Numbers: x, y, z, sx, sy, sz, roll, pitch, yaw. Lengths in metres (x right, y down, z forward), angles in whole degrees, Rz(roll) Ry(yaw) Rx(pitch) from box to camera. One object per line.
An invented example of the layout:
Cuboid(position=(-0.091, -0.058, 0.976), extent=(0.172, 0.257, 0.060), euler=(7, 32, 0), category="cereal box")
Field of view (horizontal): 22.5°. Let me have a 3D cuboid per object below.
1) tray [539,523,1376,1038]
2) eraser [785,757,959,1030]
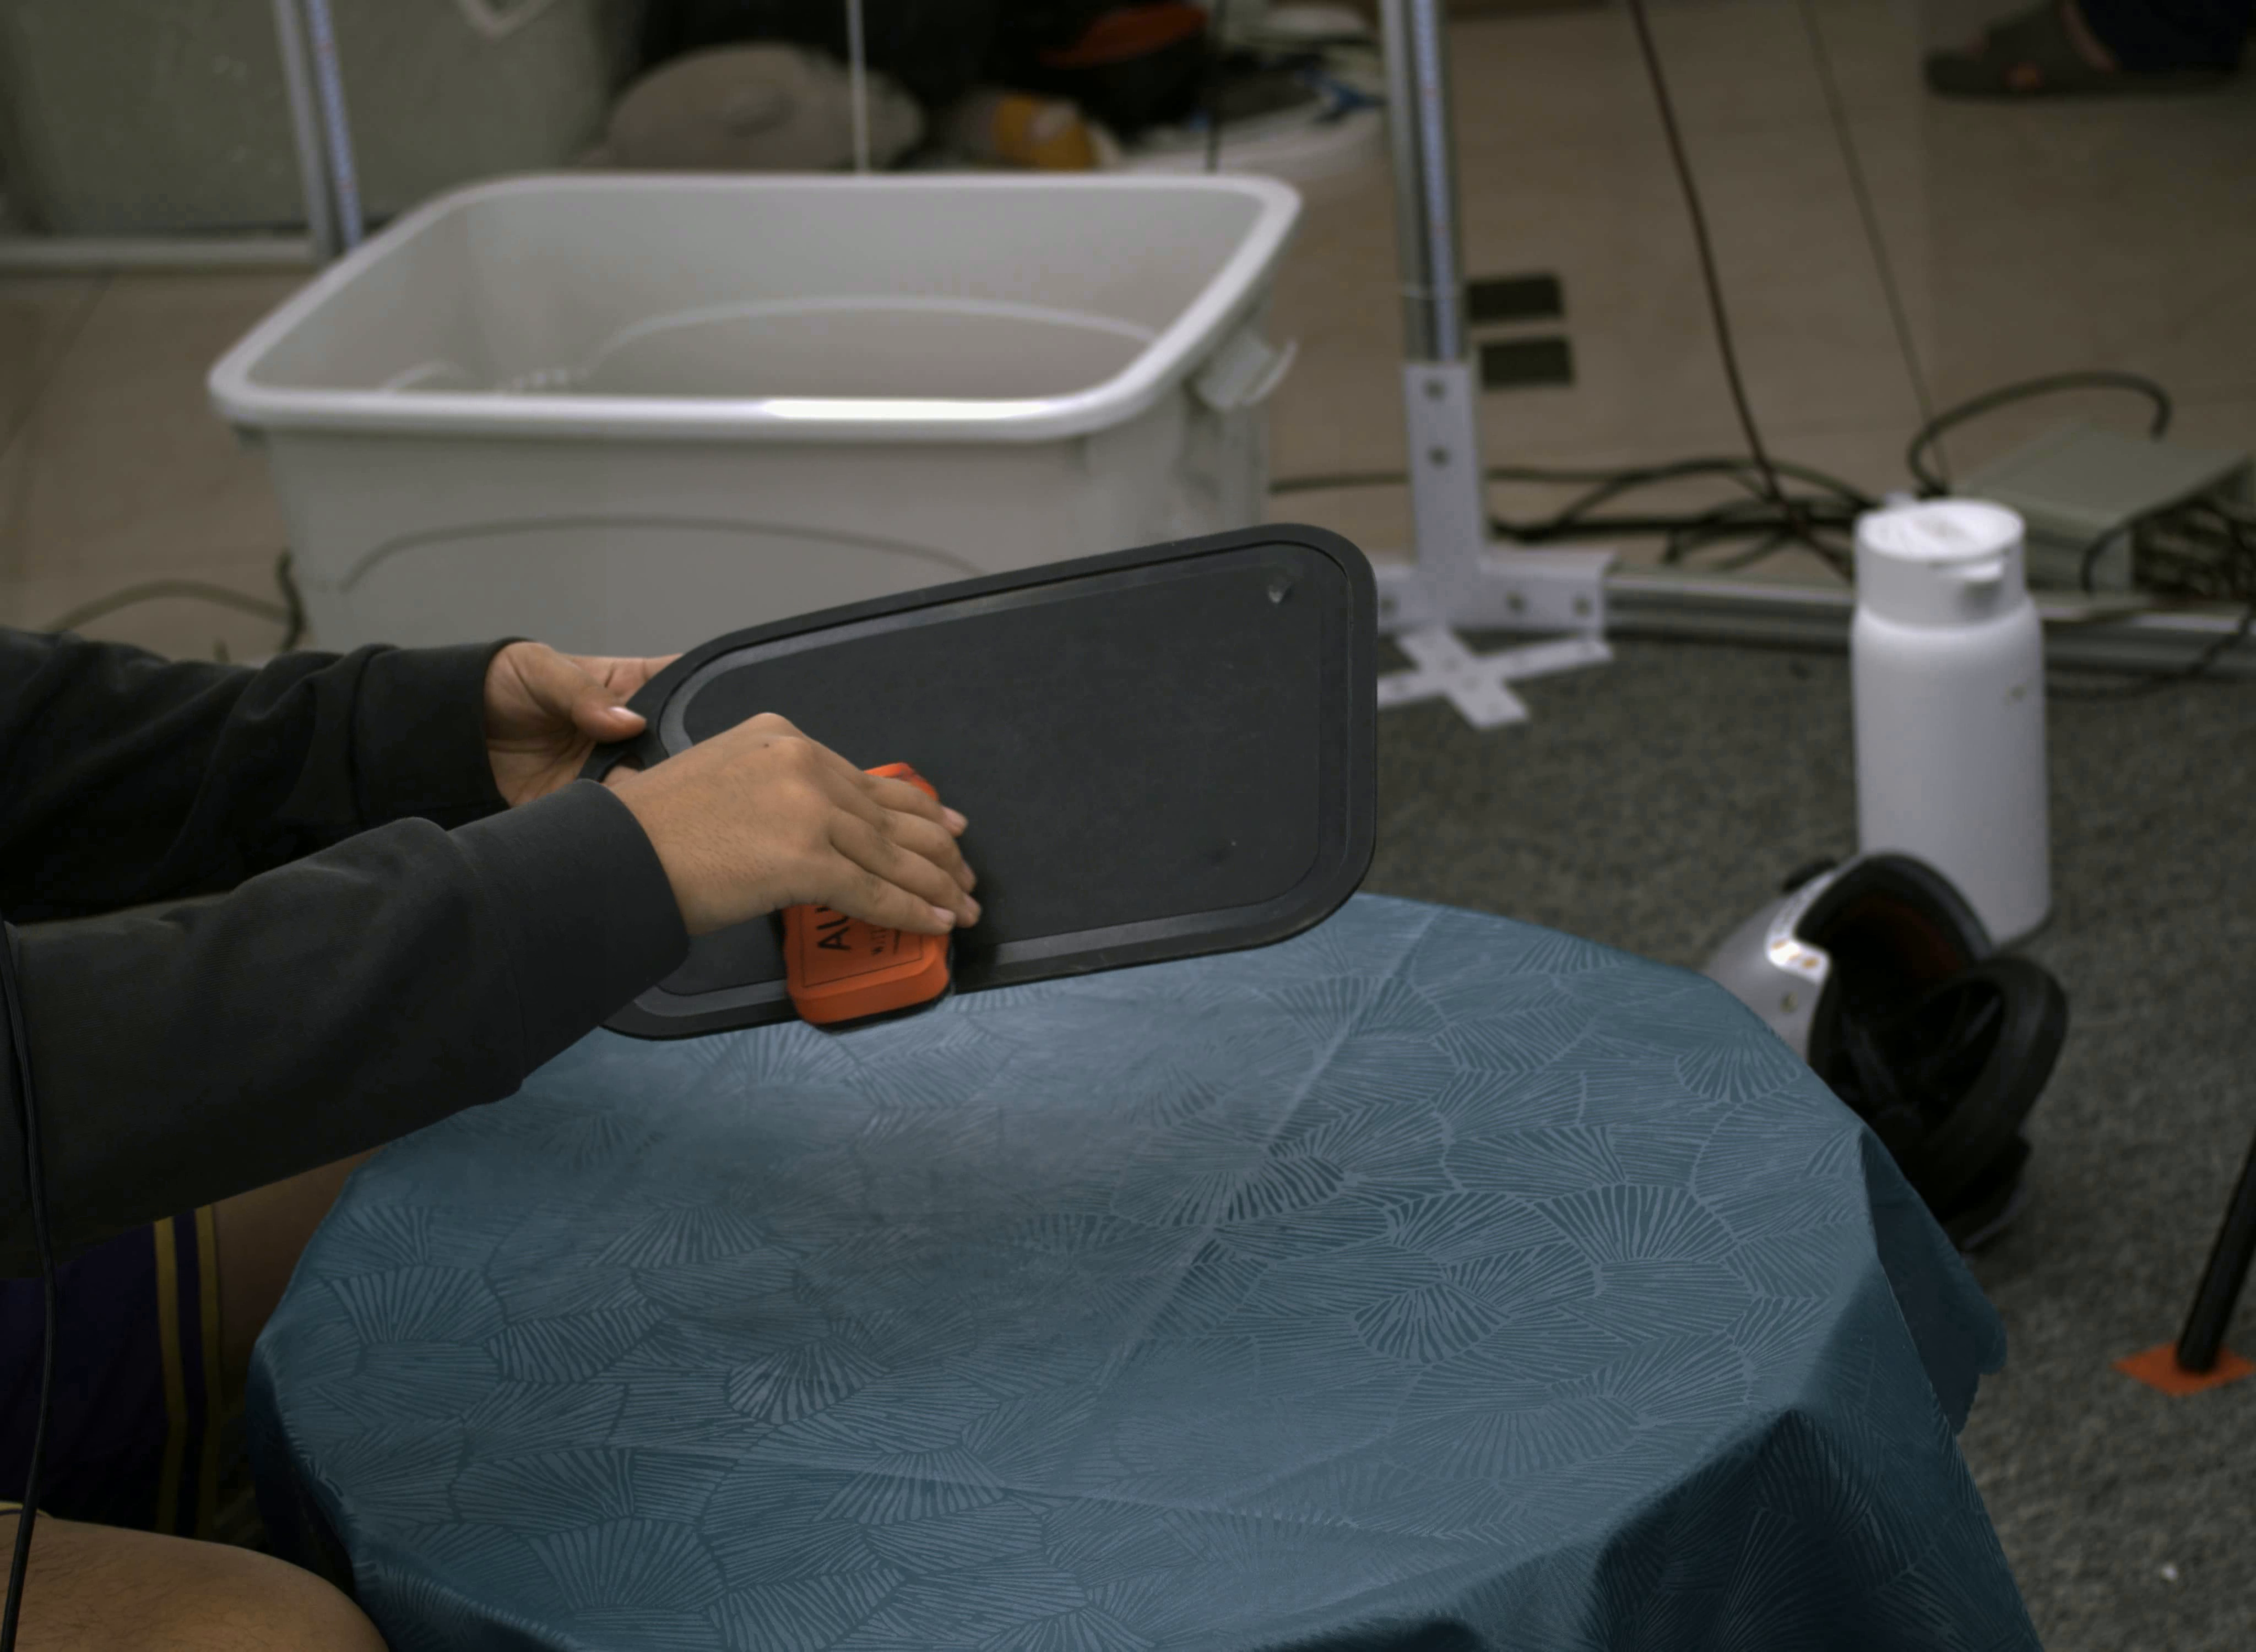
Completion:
Cuboid(position=(-0.066, -0.017, 2.095), extent=(0.325, 0.010, 0.207), euler=(-9, 48, 14), category="tray")
Cuboid(position=(-0.093, 0.023, 2.049), extent=(0.059, 0.023, 0.106), euler=(-14, 45, 9), category="eraser")
